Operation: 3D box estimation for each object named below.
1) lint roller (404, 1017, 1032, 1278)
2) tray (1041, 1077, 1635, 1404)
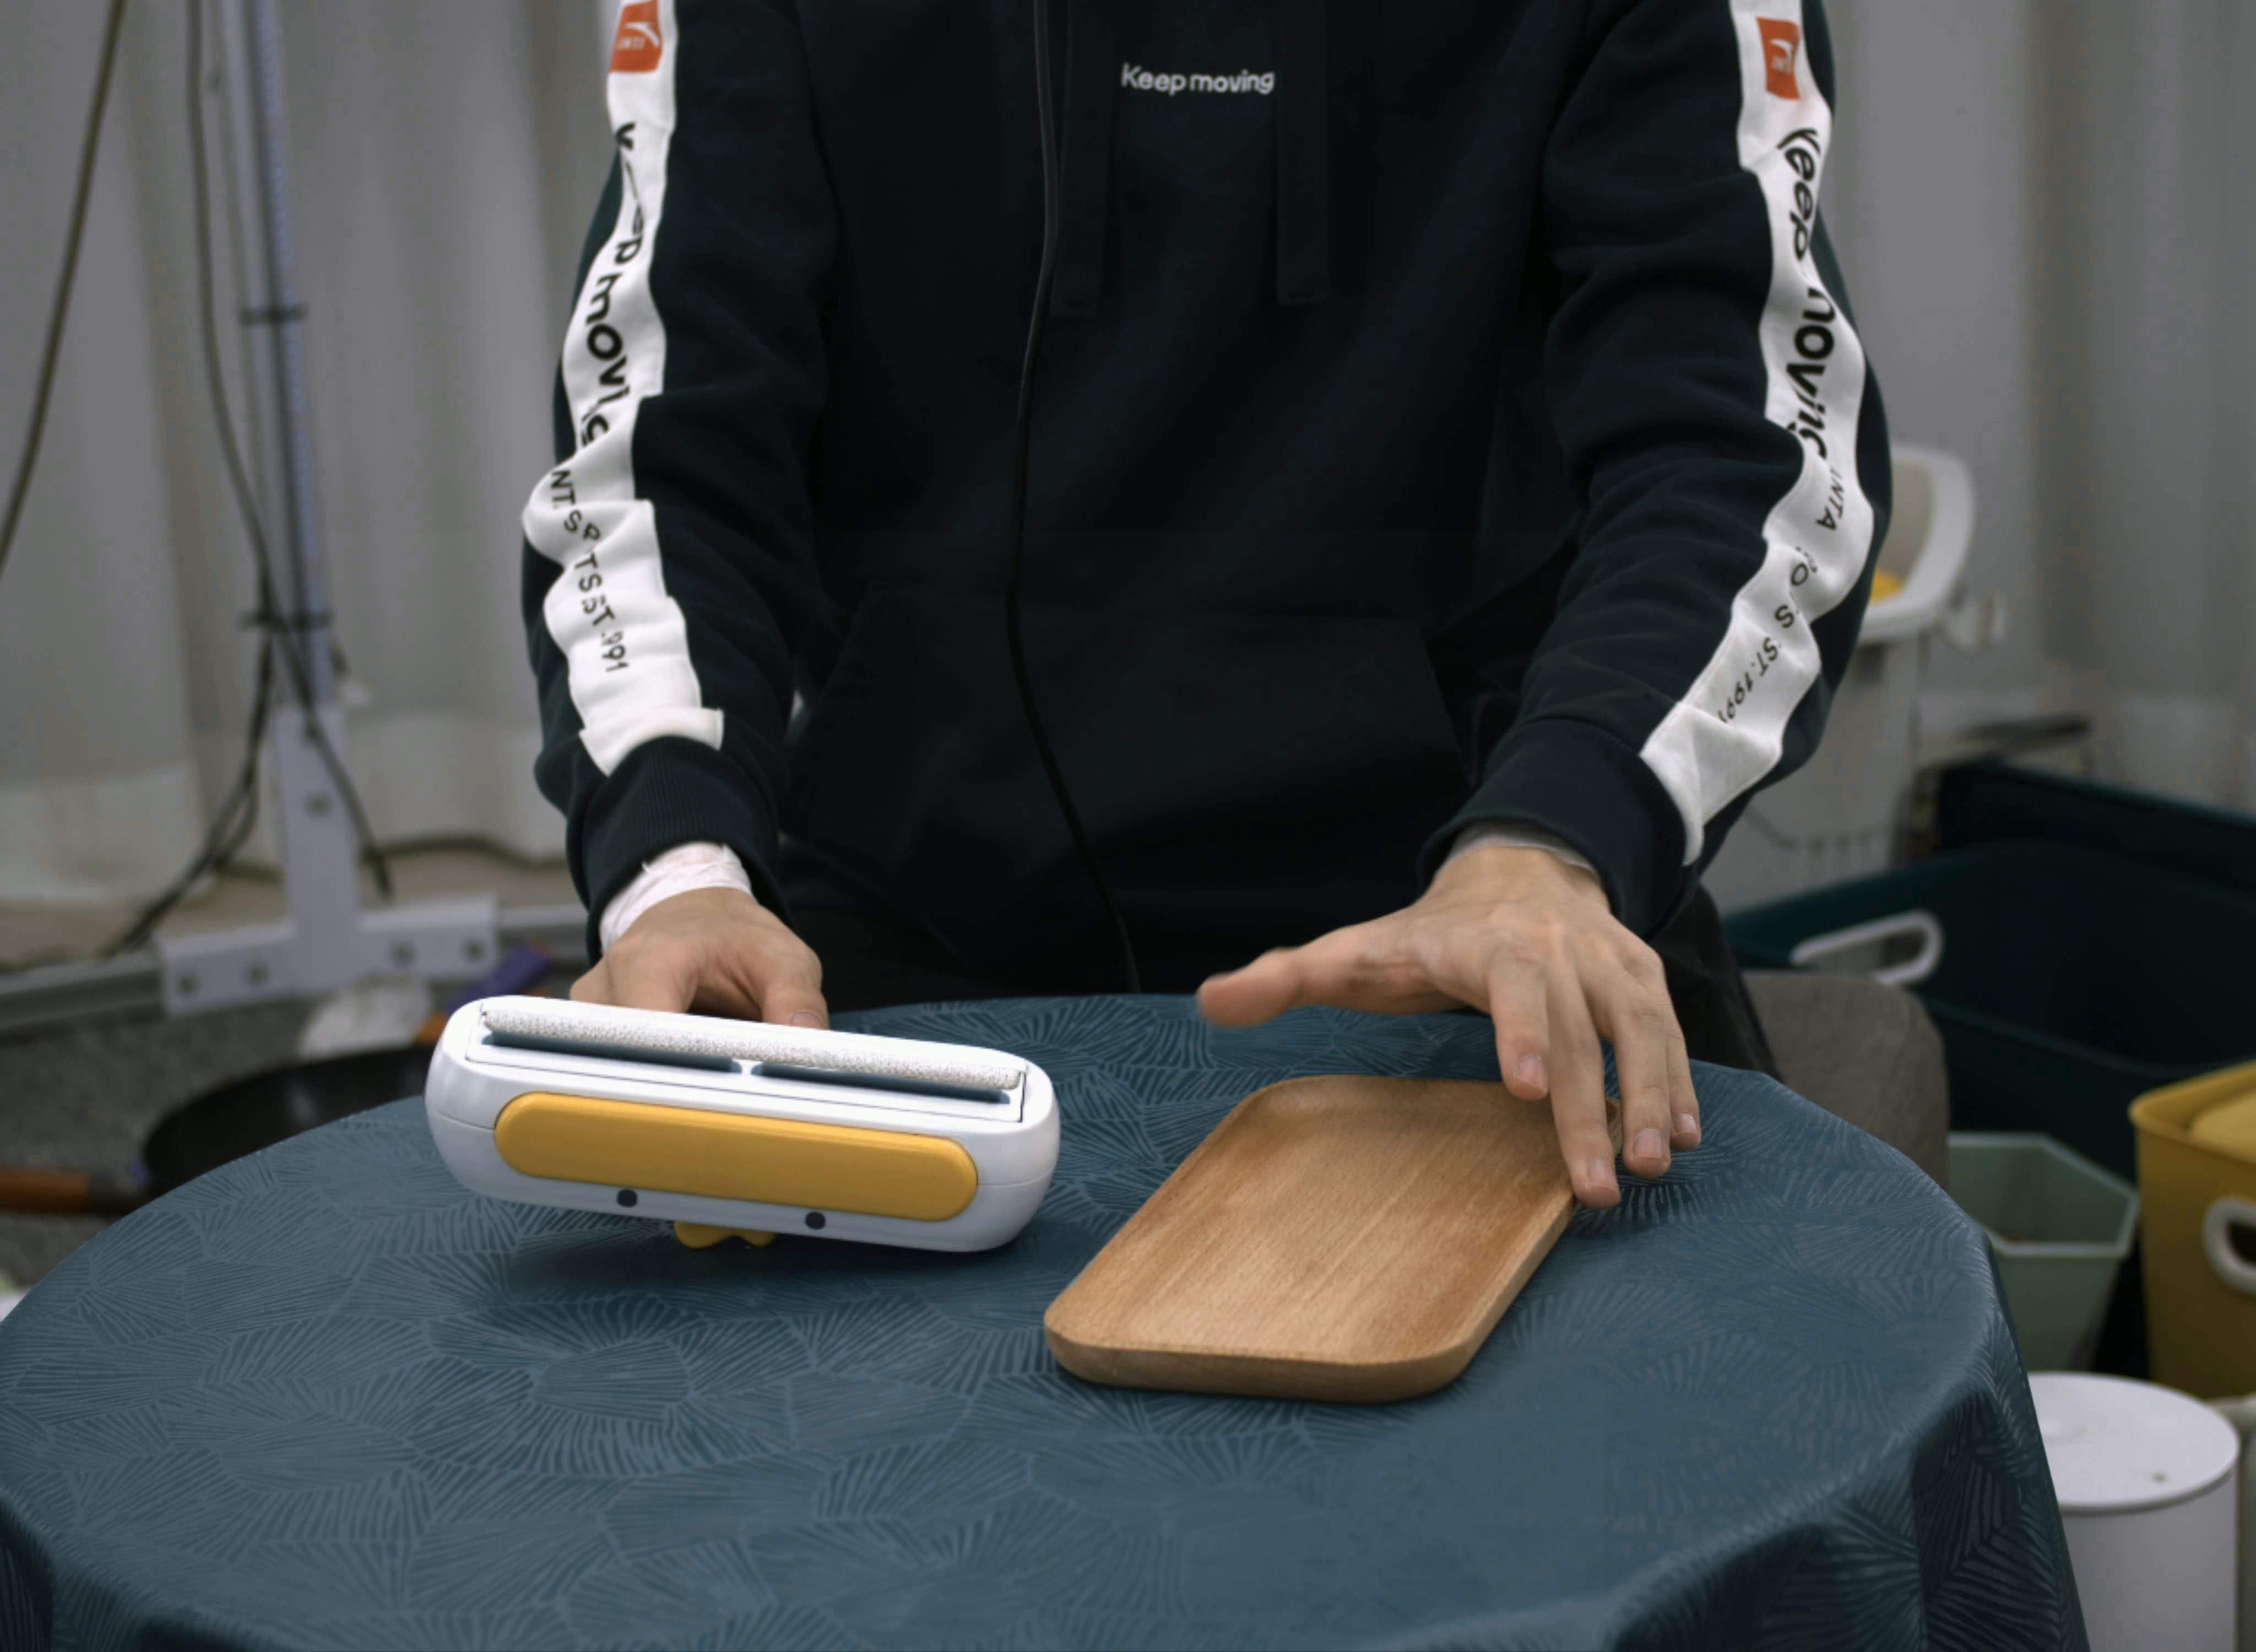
[{"bbox_3d":[-0.121,0.102,1.726,0.192,0.074,0.192,5,1,5],"label":"lint roller"},{"bbox_3d":[0.067,0.122,1.644,0.130,0.023,0.251,4,16,19],"label":"tray"}]
